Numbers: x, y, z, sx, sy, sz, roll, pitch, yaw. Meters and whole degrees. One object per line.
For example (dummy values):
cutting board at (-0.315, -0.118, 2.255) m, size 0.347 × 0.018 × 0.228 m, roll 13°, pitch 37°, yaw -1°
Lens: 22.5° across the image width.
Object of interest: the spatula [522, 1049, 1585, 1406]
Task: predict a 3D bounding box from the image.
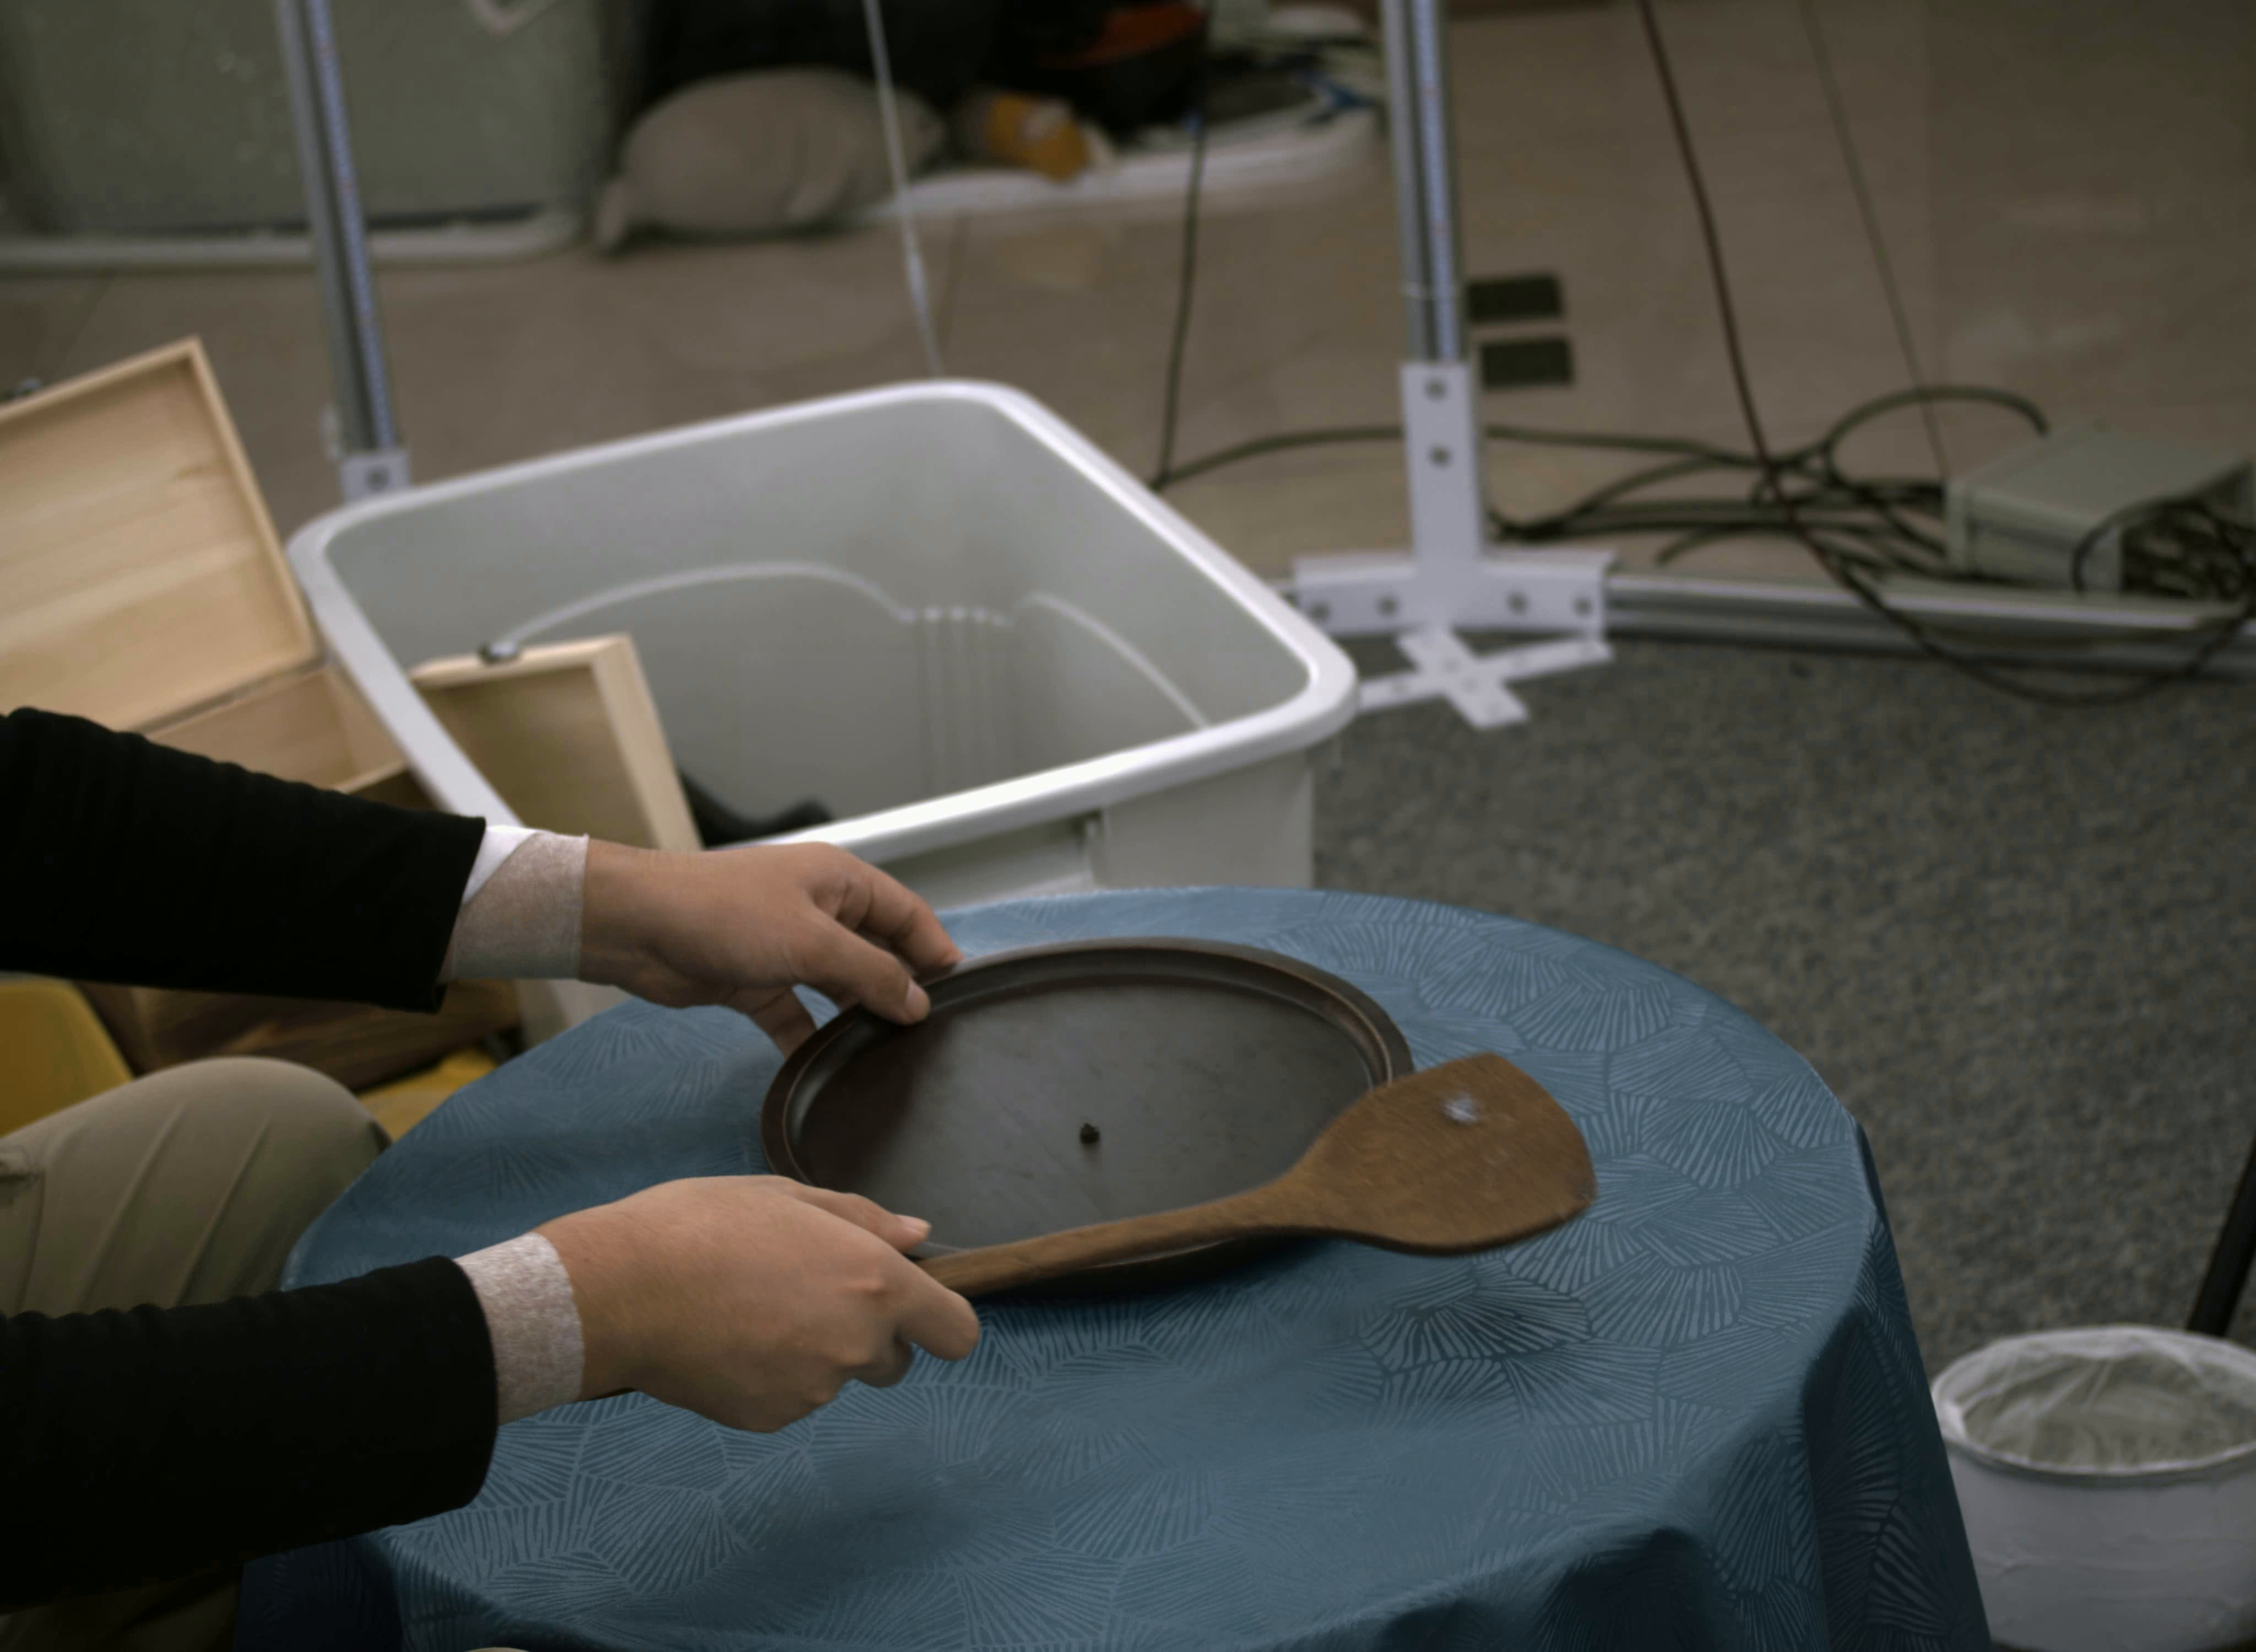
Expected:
spatula at (-0.025, 0.146, 1.968) m, size 0.384 × 0.016 × 0.094 m, roll -13°, pitch 40°, yaw -18°

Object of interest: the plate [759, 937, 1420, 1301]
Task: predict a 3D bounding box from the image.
plate at (-0.014, 0.110, 2.171) m, size 0.254 × 0.029 × 0.250 m, roll -3°, pitch 29°, yaw 2°
